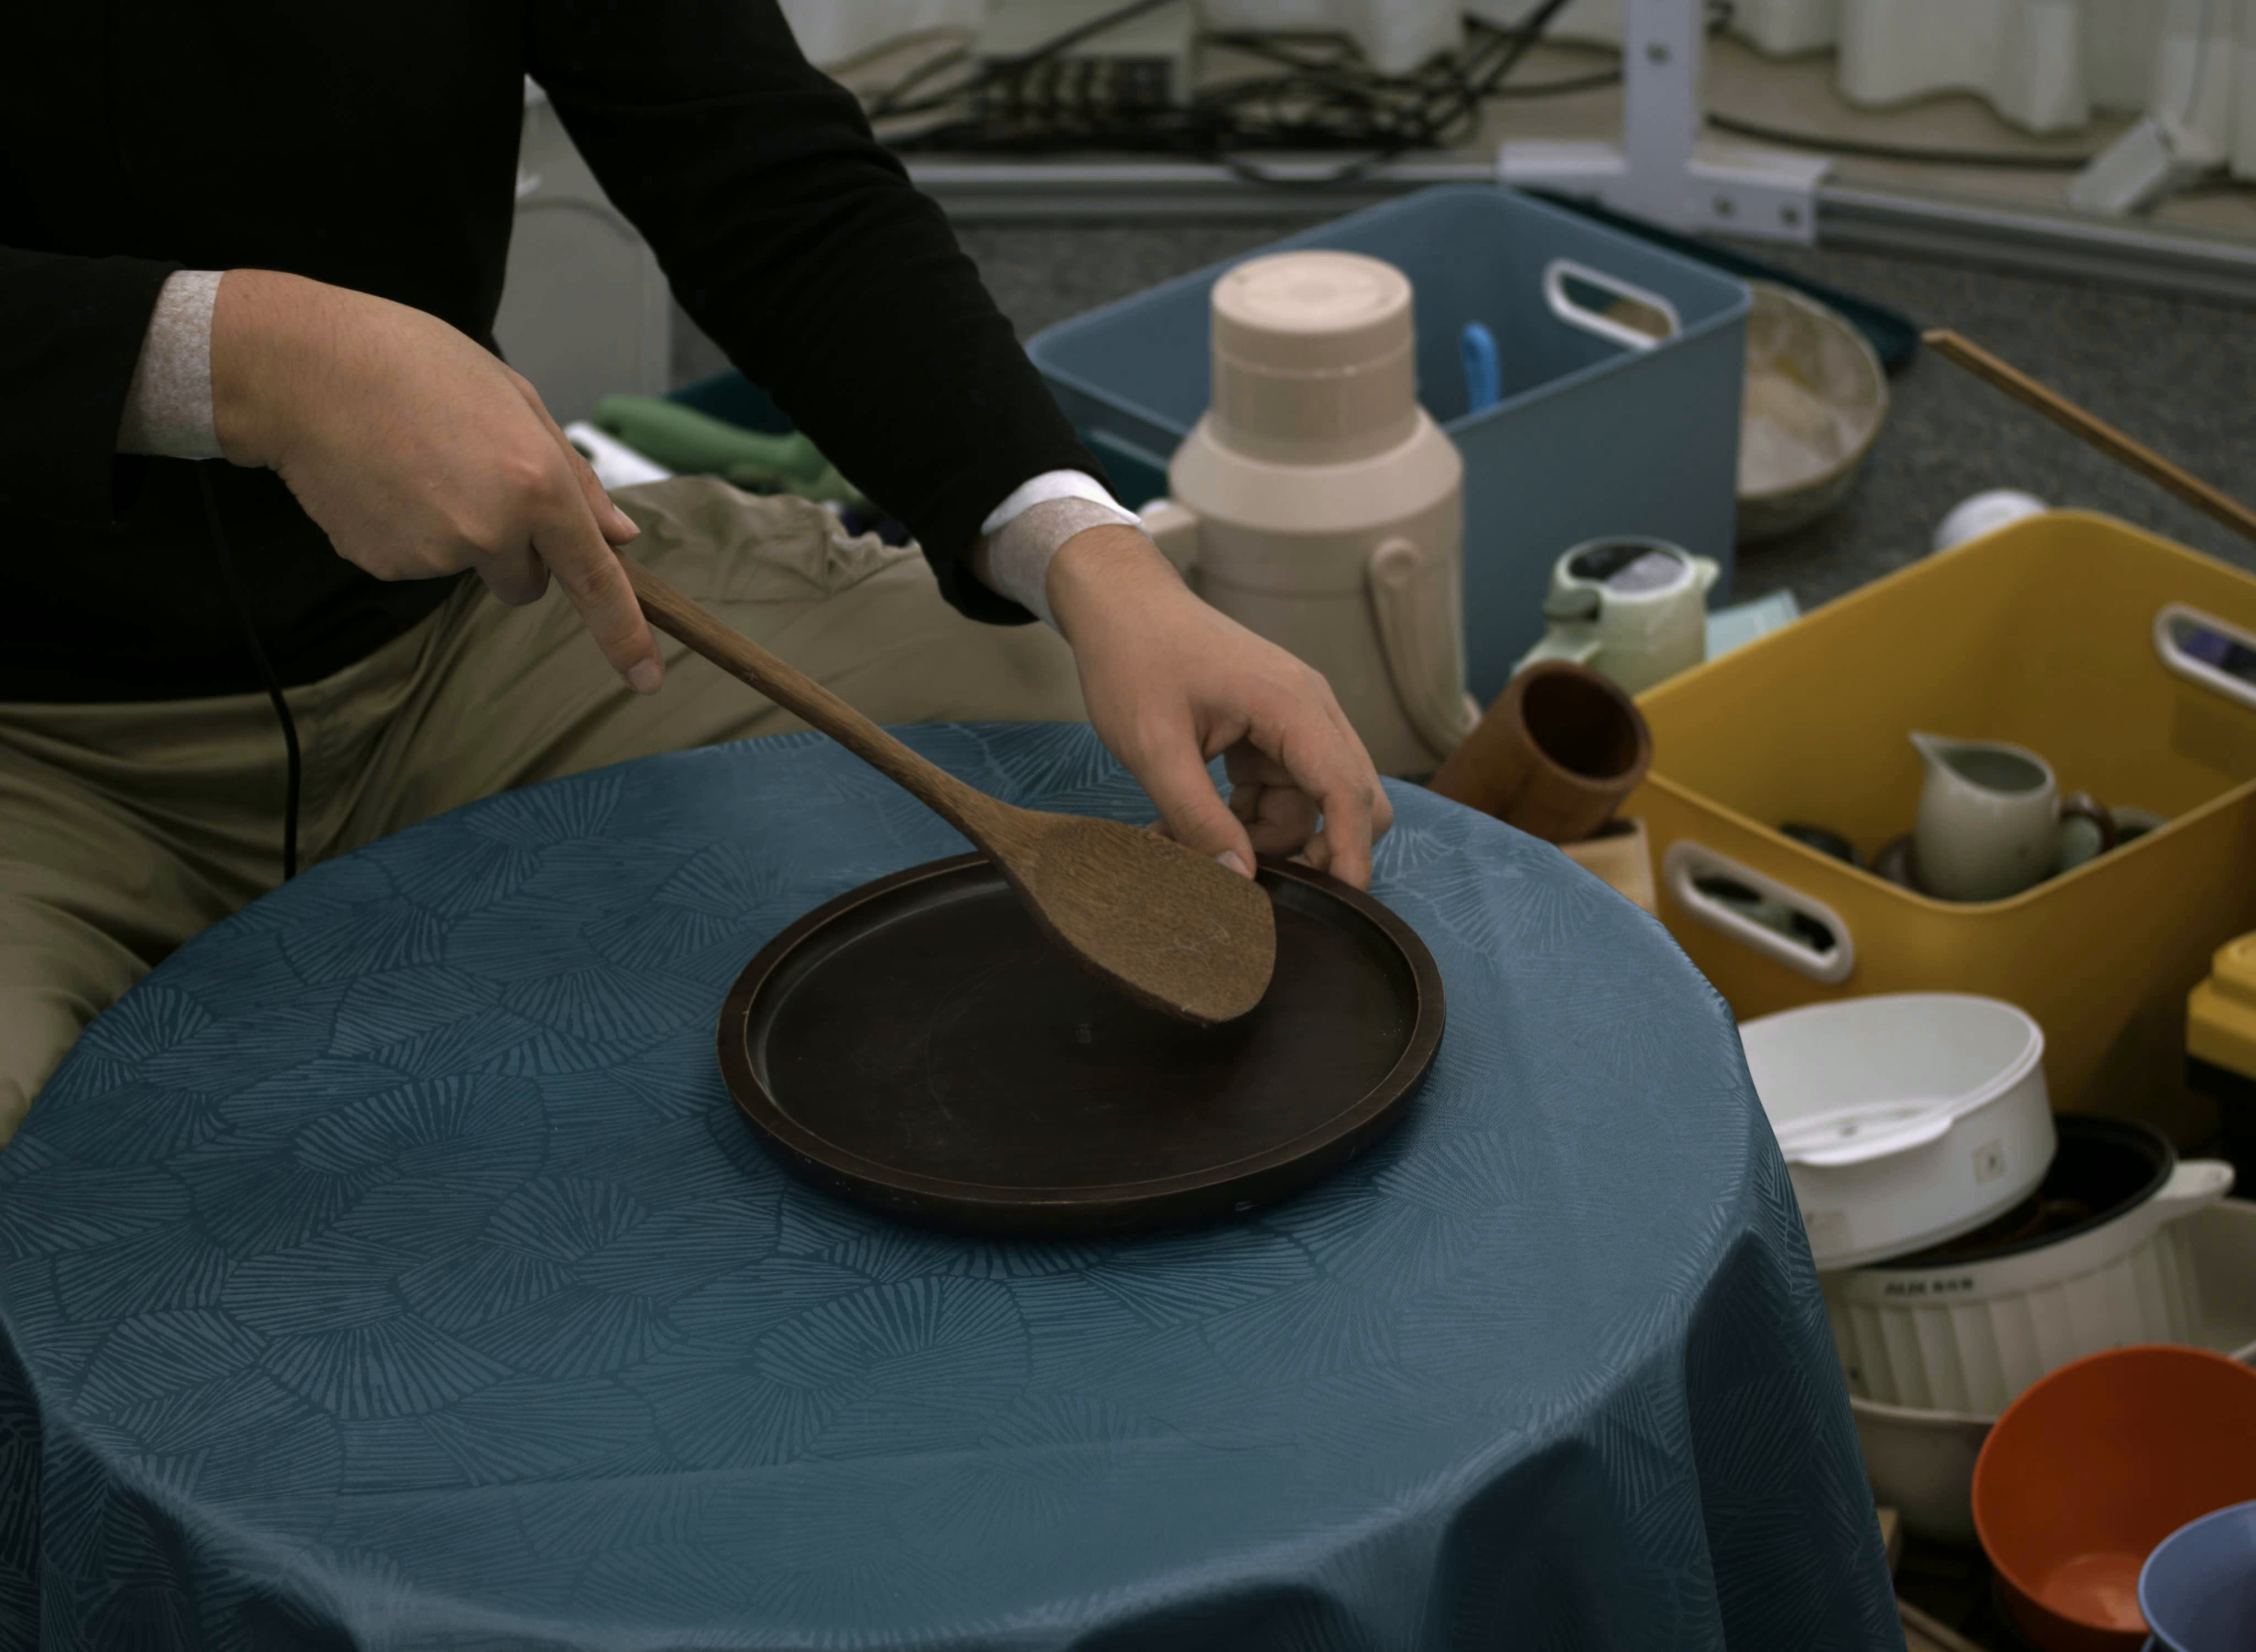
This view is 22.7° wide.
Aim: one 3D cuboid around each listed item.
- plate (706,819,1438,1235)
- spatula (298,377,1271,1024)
[{"bbox_3d":[-0.019,0.070,1.937,0.253,0.029,0.259,-3,28,2],"label":"plate"},{"bbox_3d":[-0.115,-0.048,1.914,0.385,0.015,0.098,33,32,-6],"label":"spatula"}]
